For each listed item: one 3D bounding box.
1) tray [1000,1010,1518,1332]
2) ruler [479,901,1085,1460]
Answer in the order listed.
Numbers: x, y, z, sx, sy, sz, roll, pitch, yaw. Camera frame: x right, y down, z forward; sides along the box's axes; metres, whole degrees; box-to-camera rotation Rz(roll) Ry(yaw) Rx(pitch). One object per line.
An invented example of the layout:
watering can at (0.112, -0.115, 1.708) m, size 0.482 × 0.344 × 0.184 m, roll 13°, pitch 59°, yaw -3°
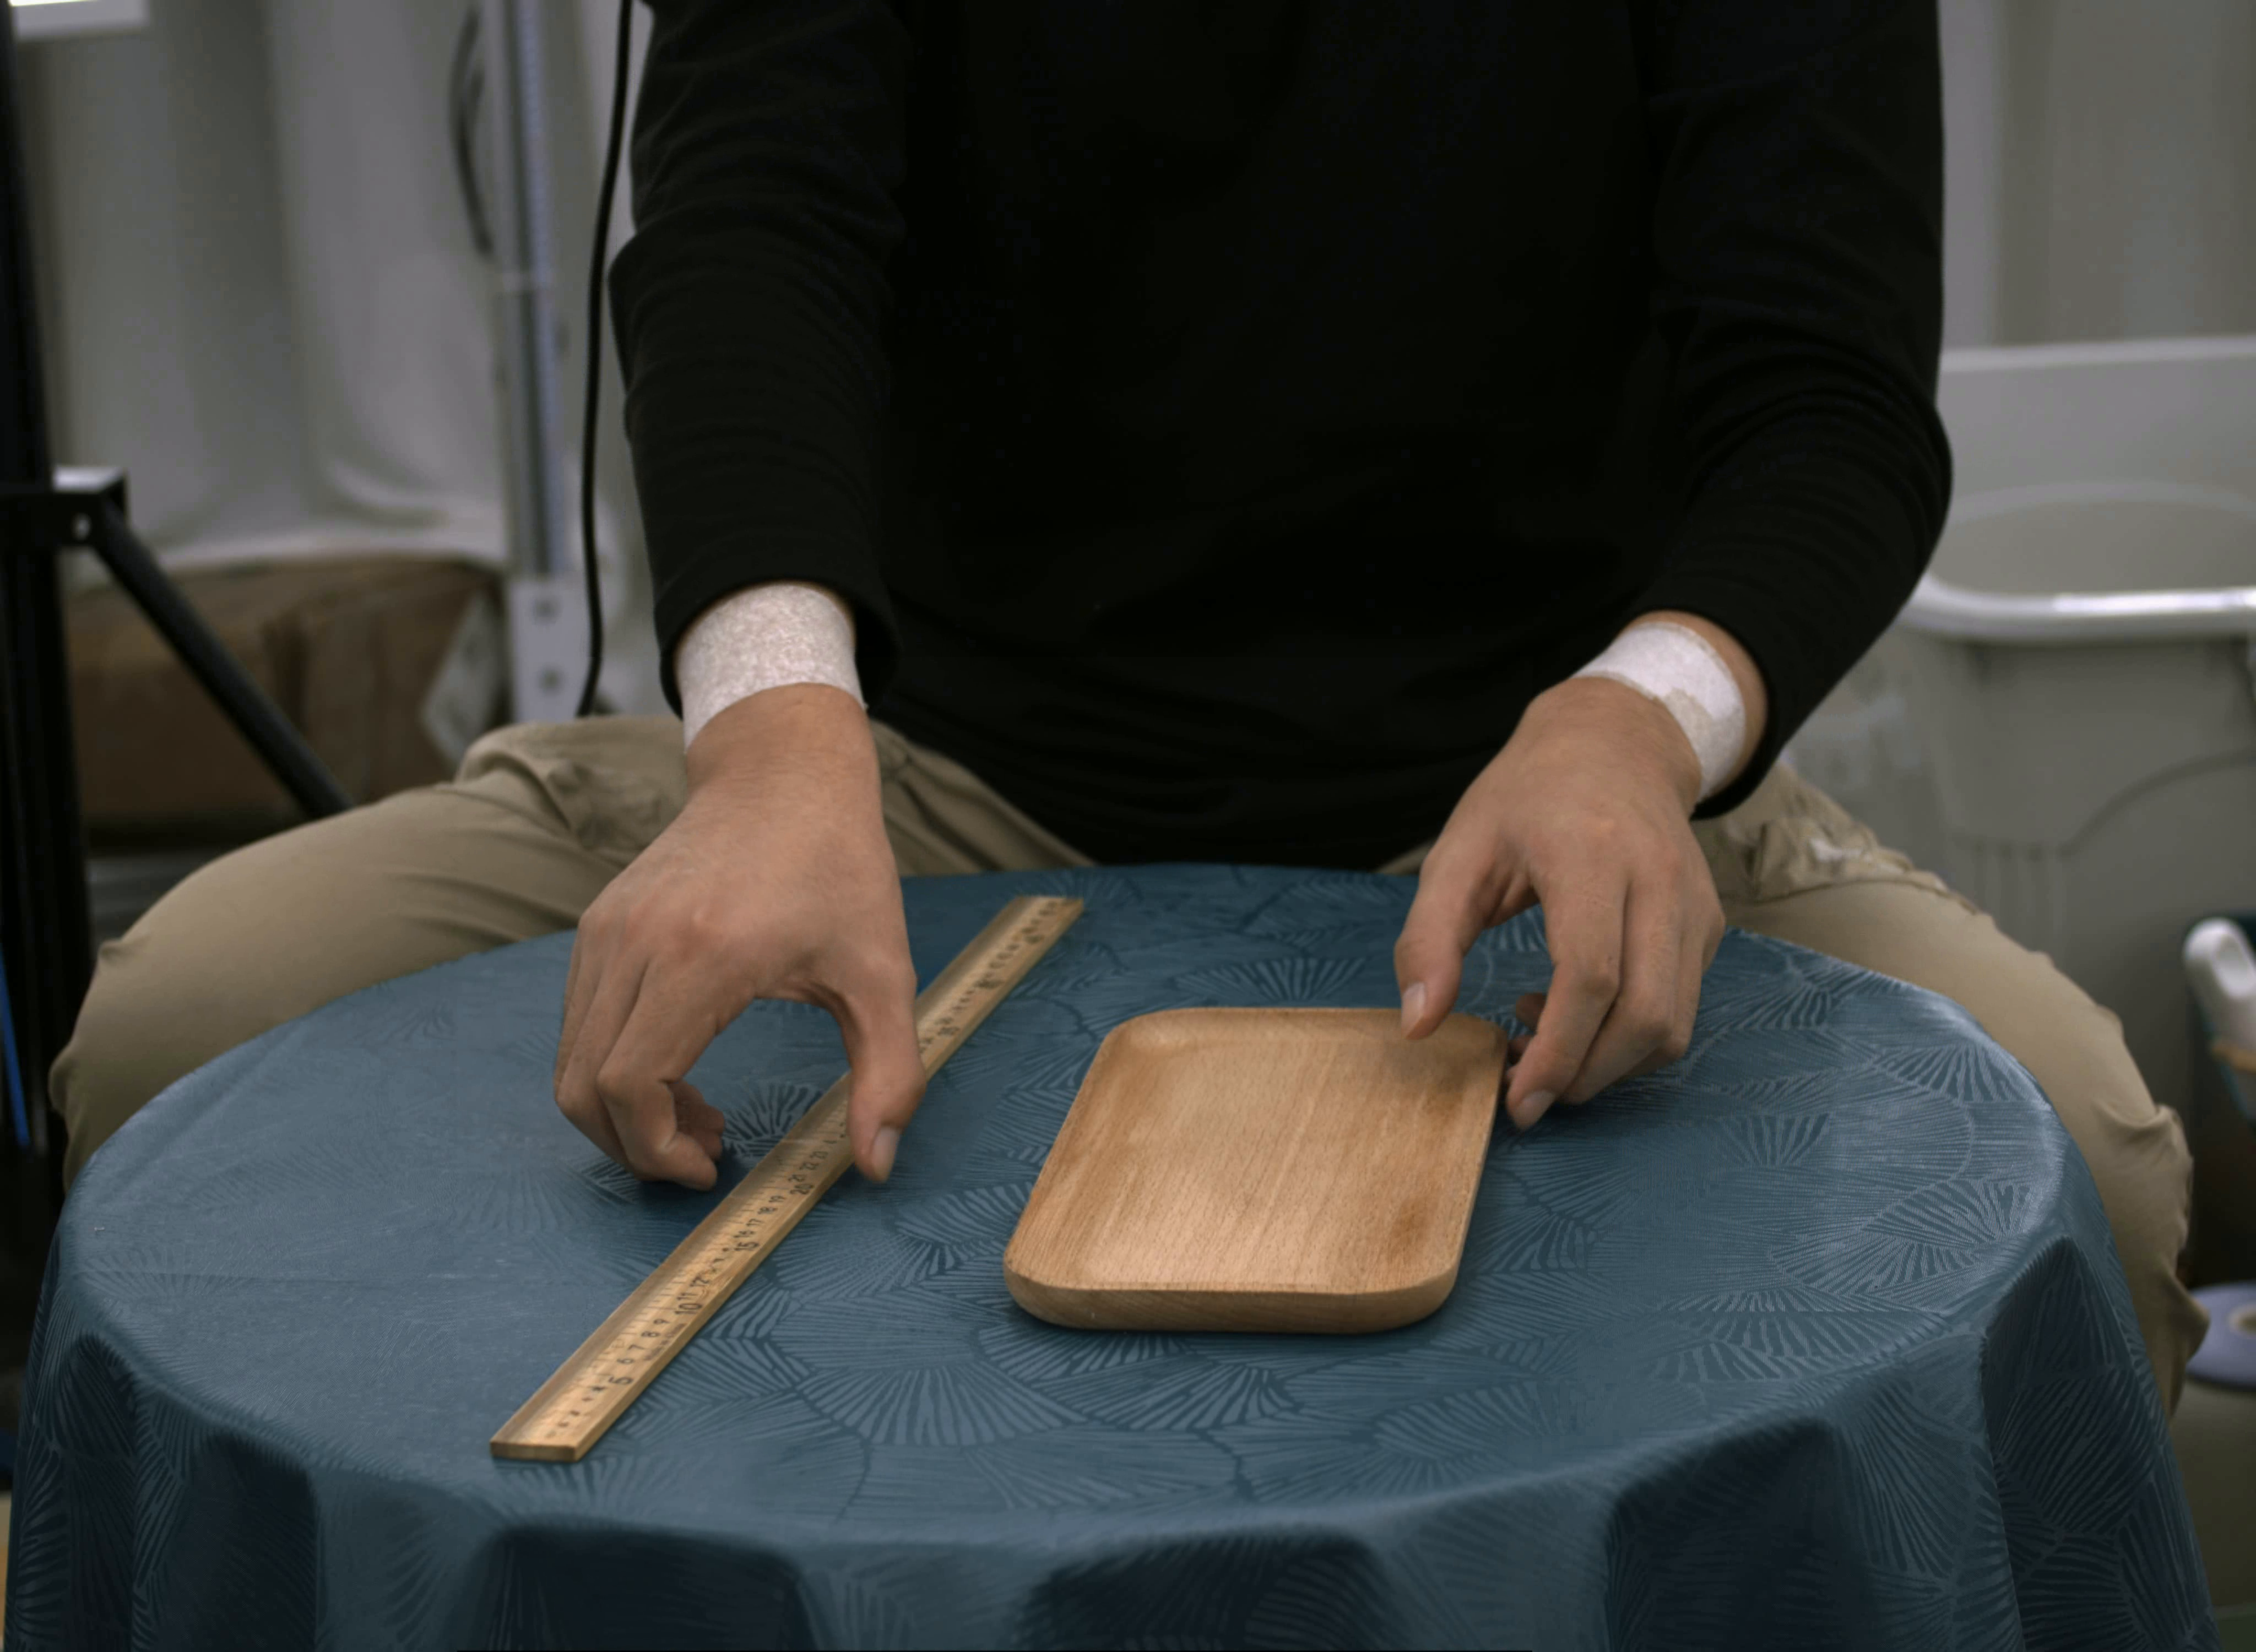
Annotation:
tray at (0.043, 0.098, 1.555) m, size 0.131 × 0.023 × 0.249 m, roll 2°, pitch 15°, yaw 10°
ruler at (-0.090, 0.095, 1.609) m, size 0.027 × 0.006 × 0.496 m, roll 4°, pitch 17°, yaw 15°
